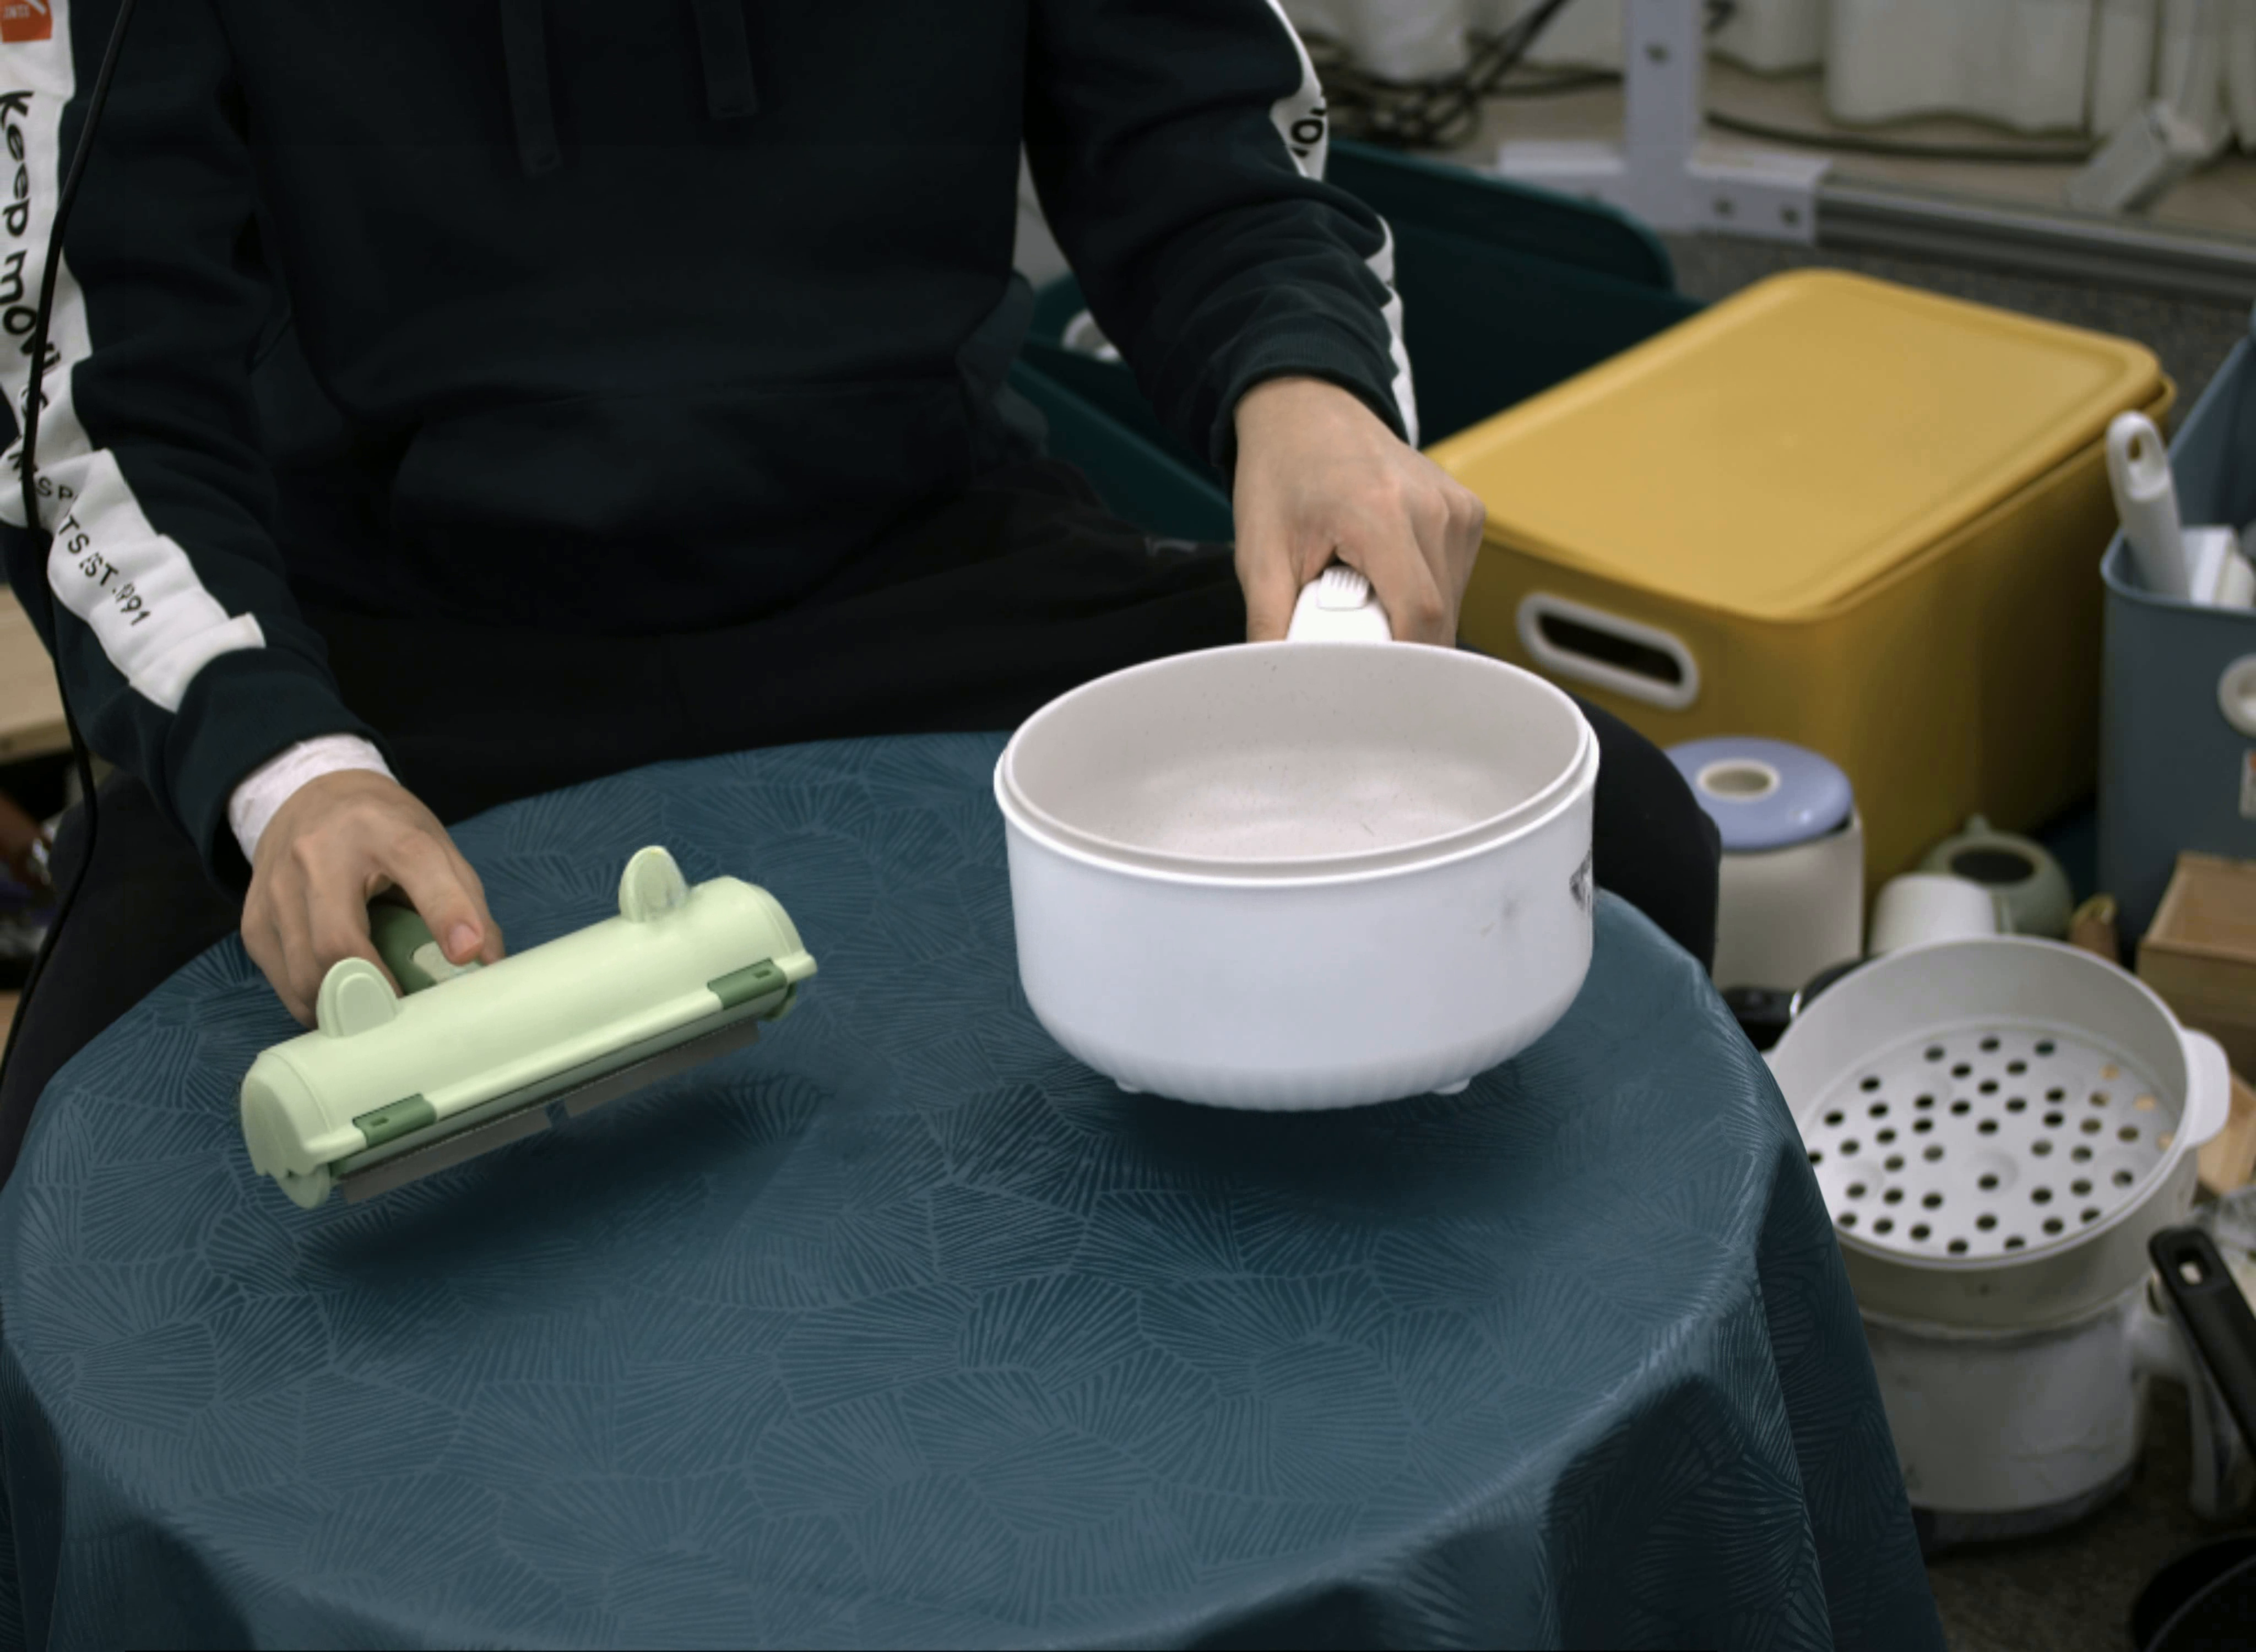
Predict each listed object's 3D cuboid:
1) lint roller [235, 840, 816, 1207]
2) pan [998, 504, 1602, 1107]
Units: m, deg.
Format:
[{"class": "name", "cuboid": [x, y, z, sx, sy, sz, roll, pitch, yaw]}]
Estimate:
[{"class": "lint roller", "cuboid": [-0.232, 0.042, 1.901, 0.200, 0.081, 0.184, -21, 36, -31]}, {"class": "pan", "cuboid": [0.071, -0.010, 1.949, 0.200, 0.101, 0.360, 0, 21, 9]}]
